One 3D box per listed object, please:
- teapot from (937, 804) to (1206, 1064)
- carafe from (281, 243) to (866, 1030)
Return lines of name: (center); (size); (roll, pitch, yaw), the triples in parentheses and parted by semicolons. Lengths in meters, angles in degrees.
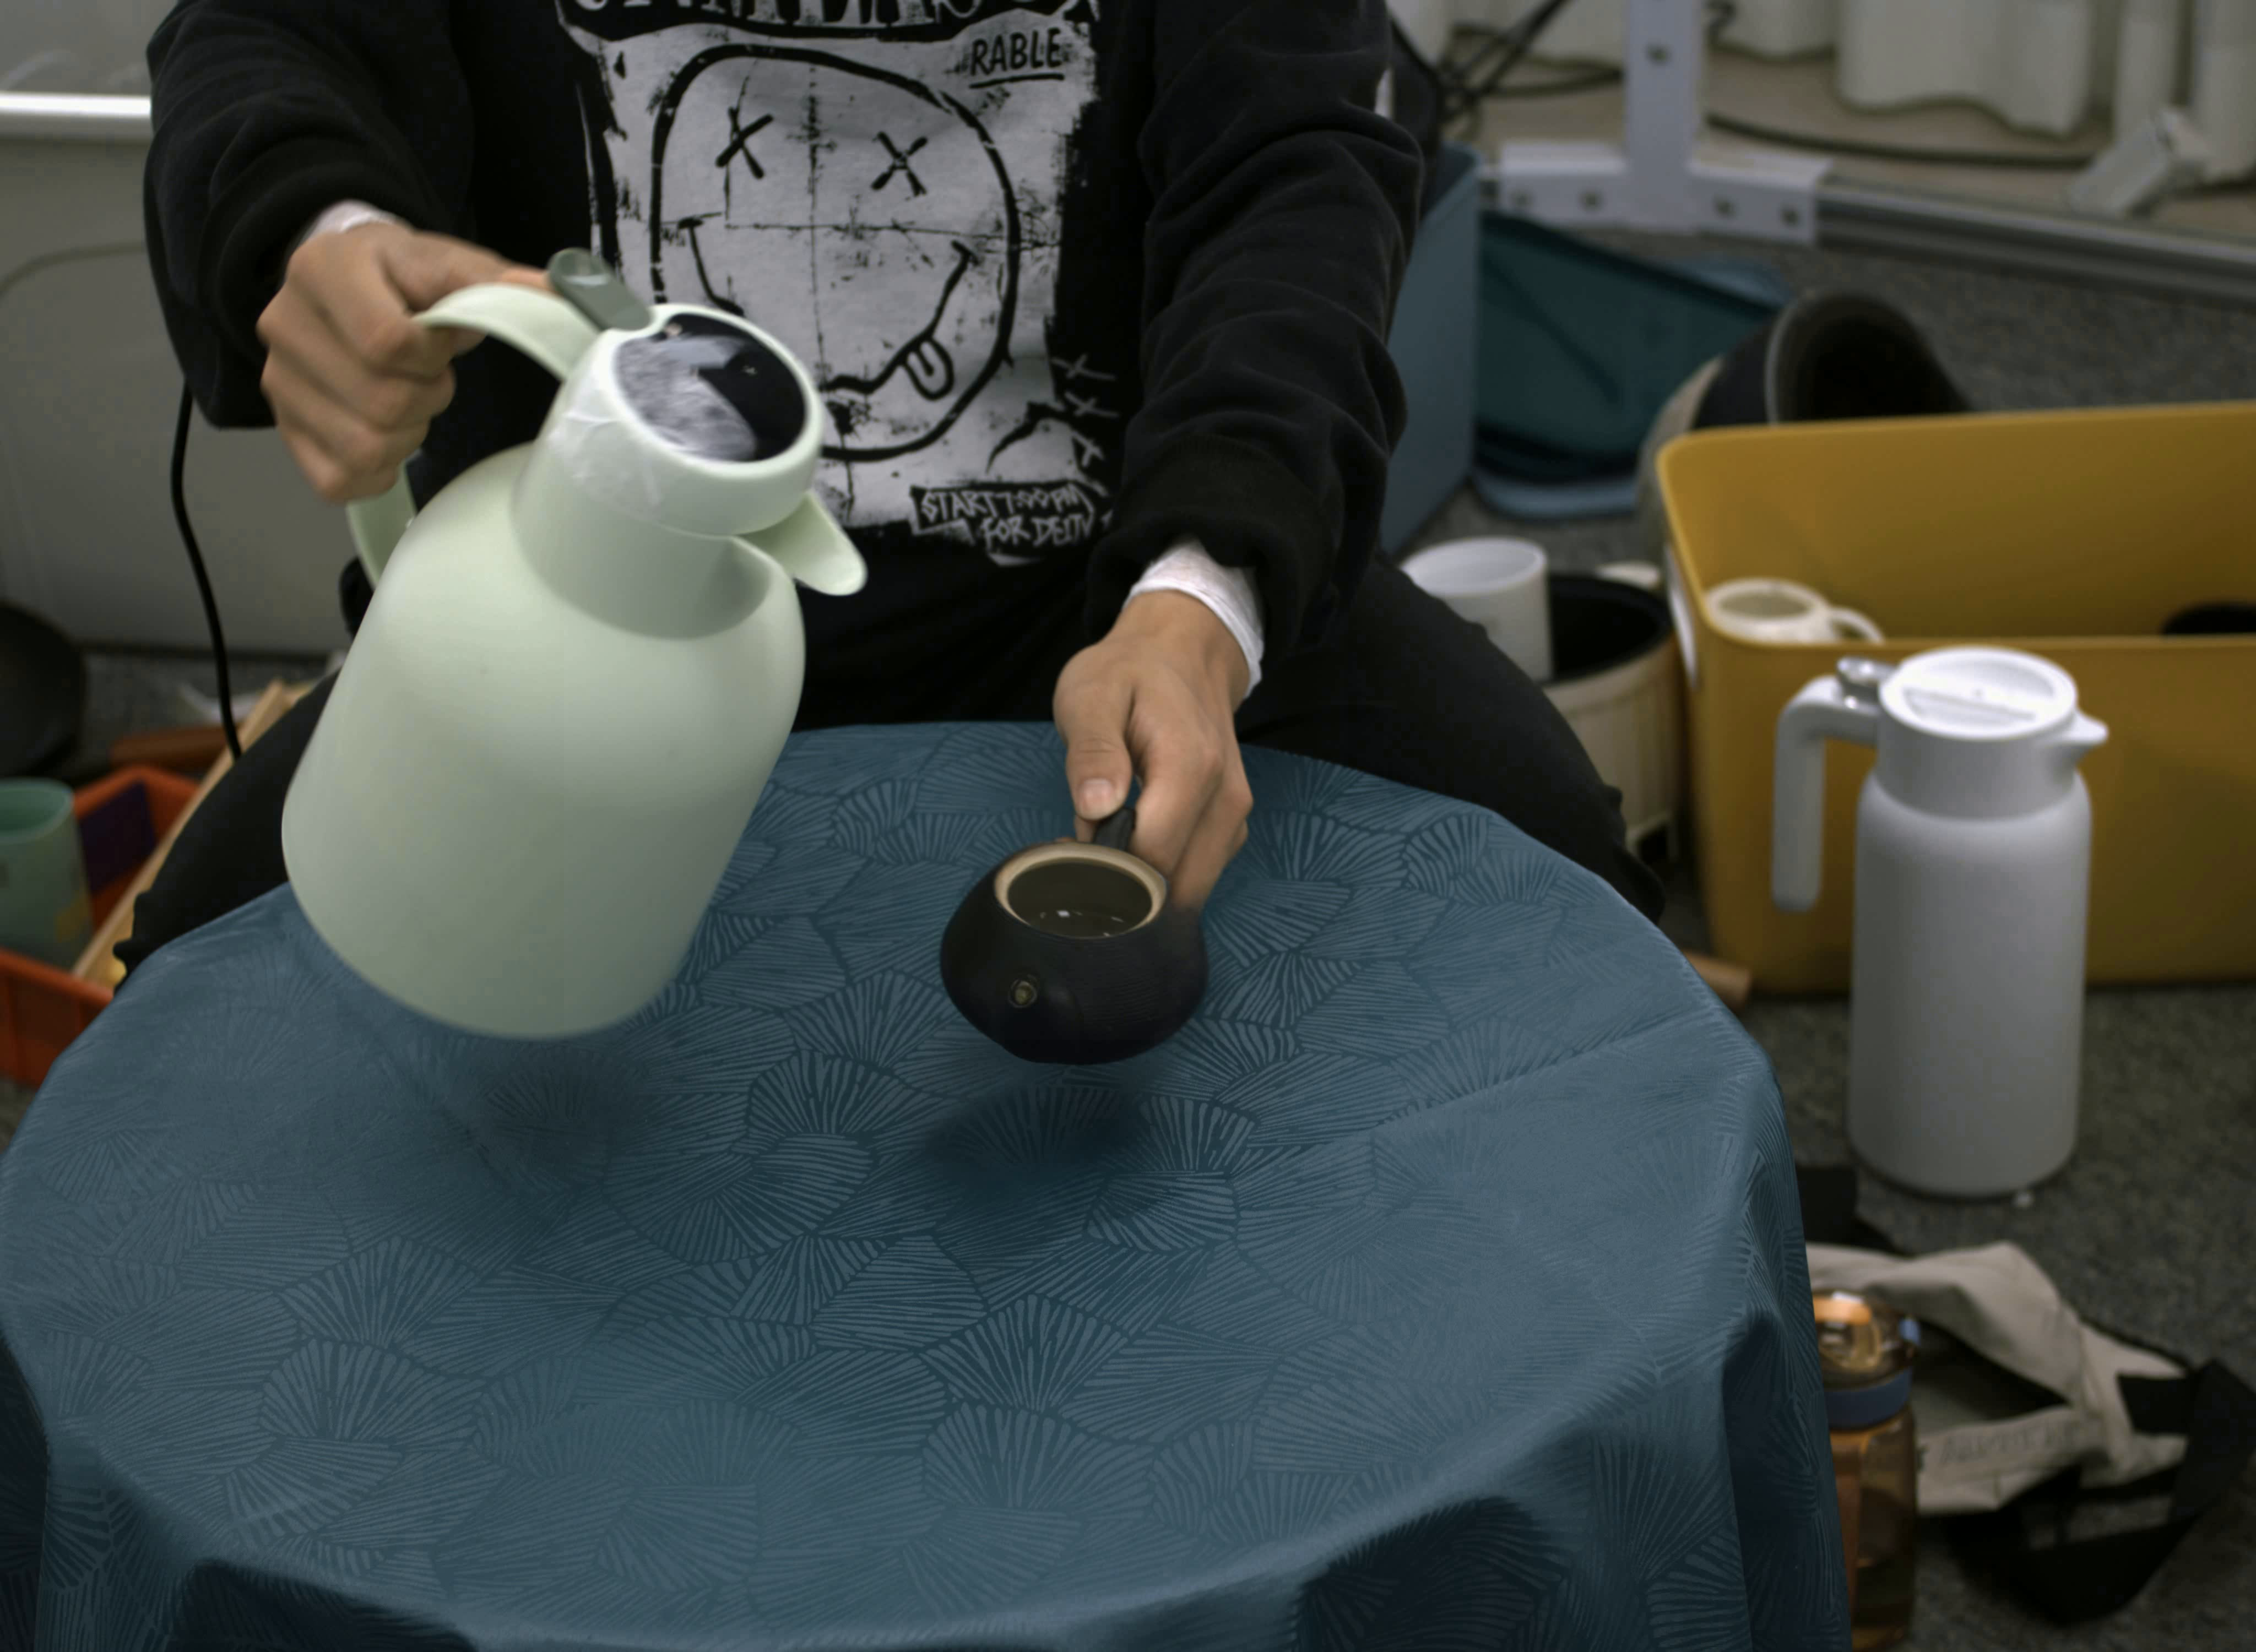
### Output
teapot: (-0.018, 0.042, 1.879); (0.090, 0.052, 0.135); (13, 34, 10)
carafe: (-0.186, -0.069, 1.826); (0.187, 0.252, 0.146); (39, 42, 14)
